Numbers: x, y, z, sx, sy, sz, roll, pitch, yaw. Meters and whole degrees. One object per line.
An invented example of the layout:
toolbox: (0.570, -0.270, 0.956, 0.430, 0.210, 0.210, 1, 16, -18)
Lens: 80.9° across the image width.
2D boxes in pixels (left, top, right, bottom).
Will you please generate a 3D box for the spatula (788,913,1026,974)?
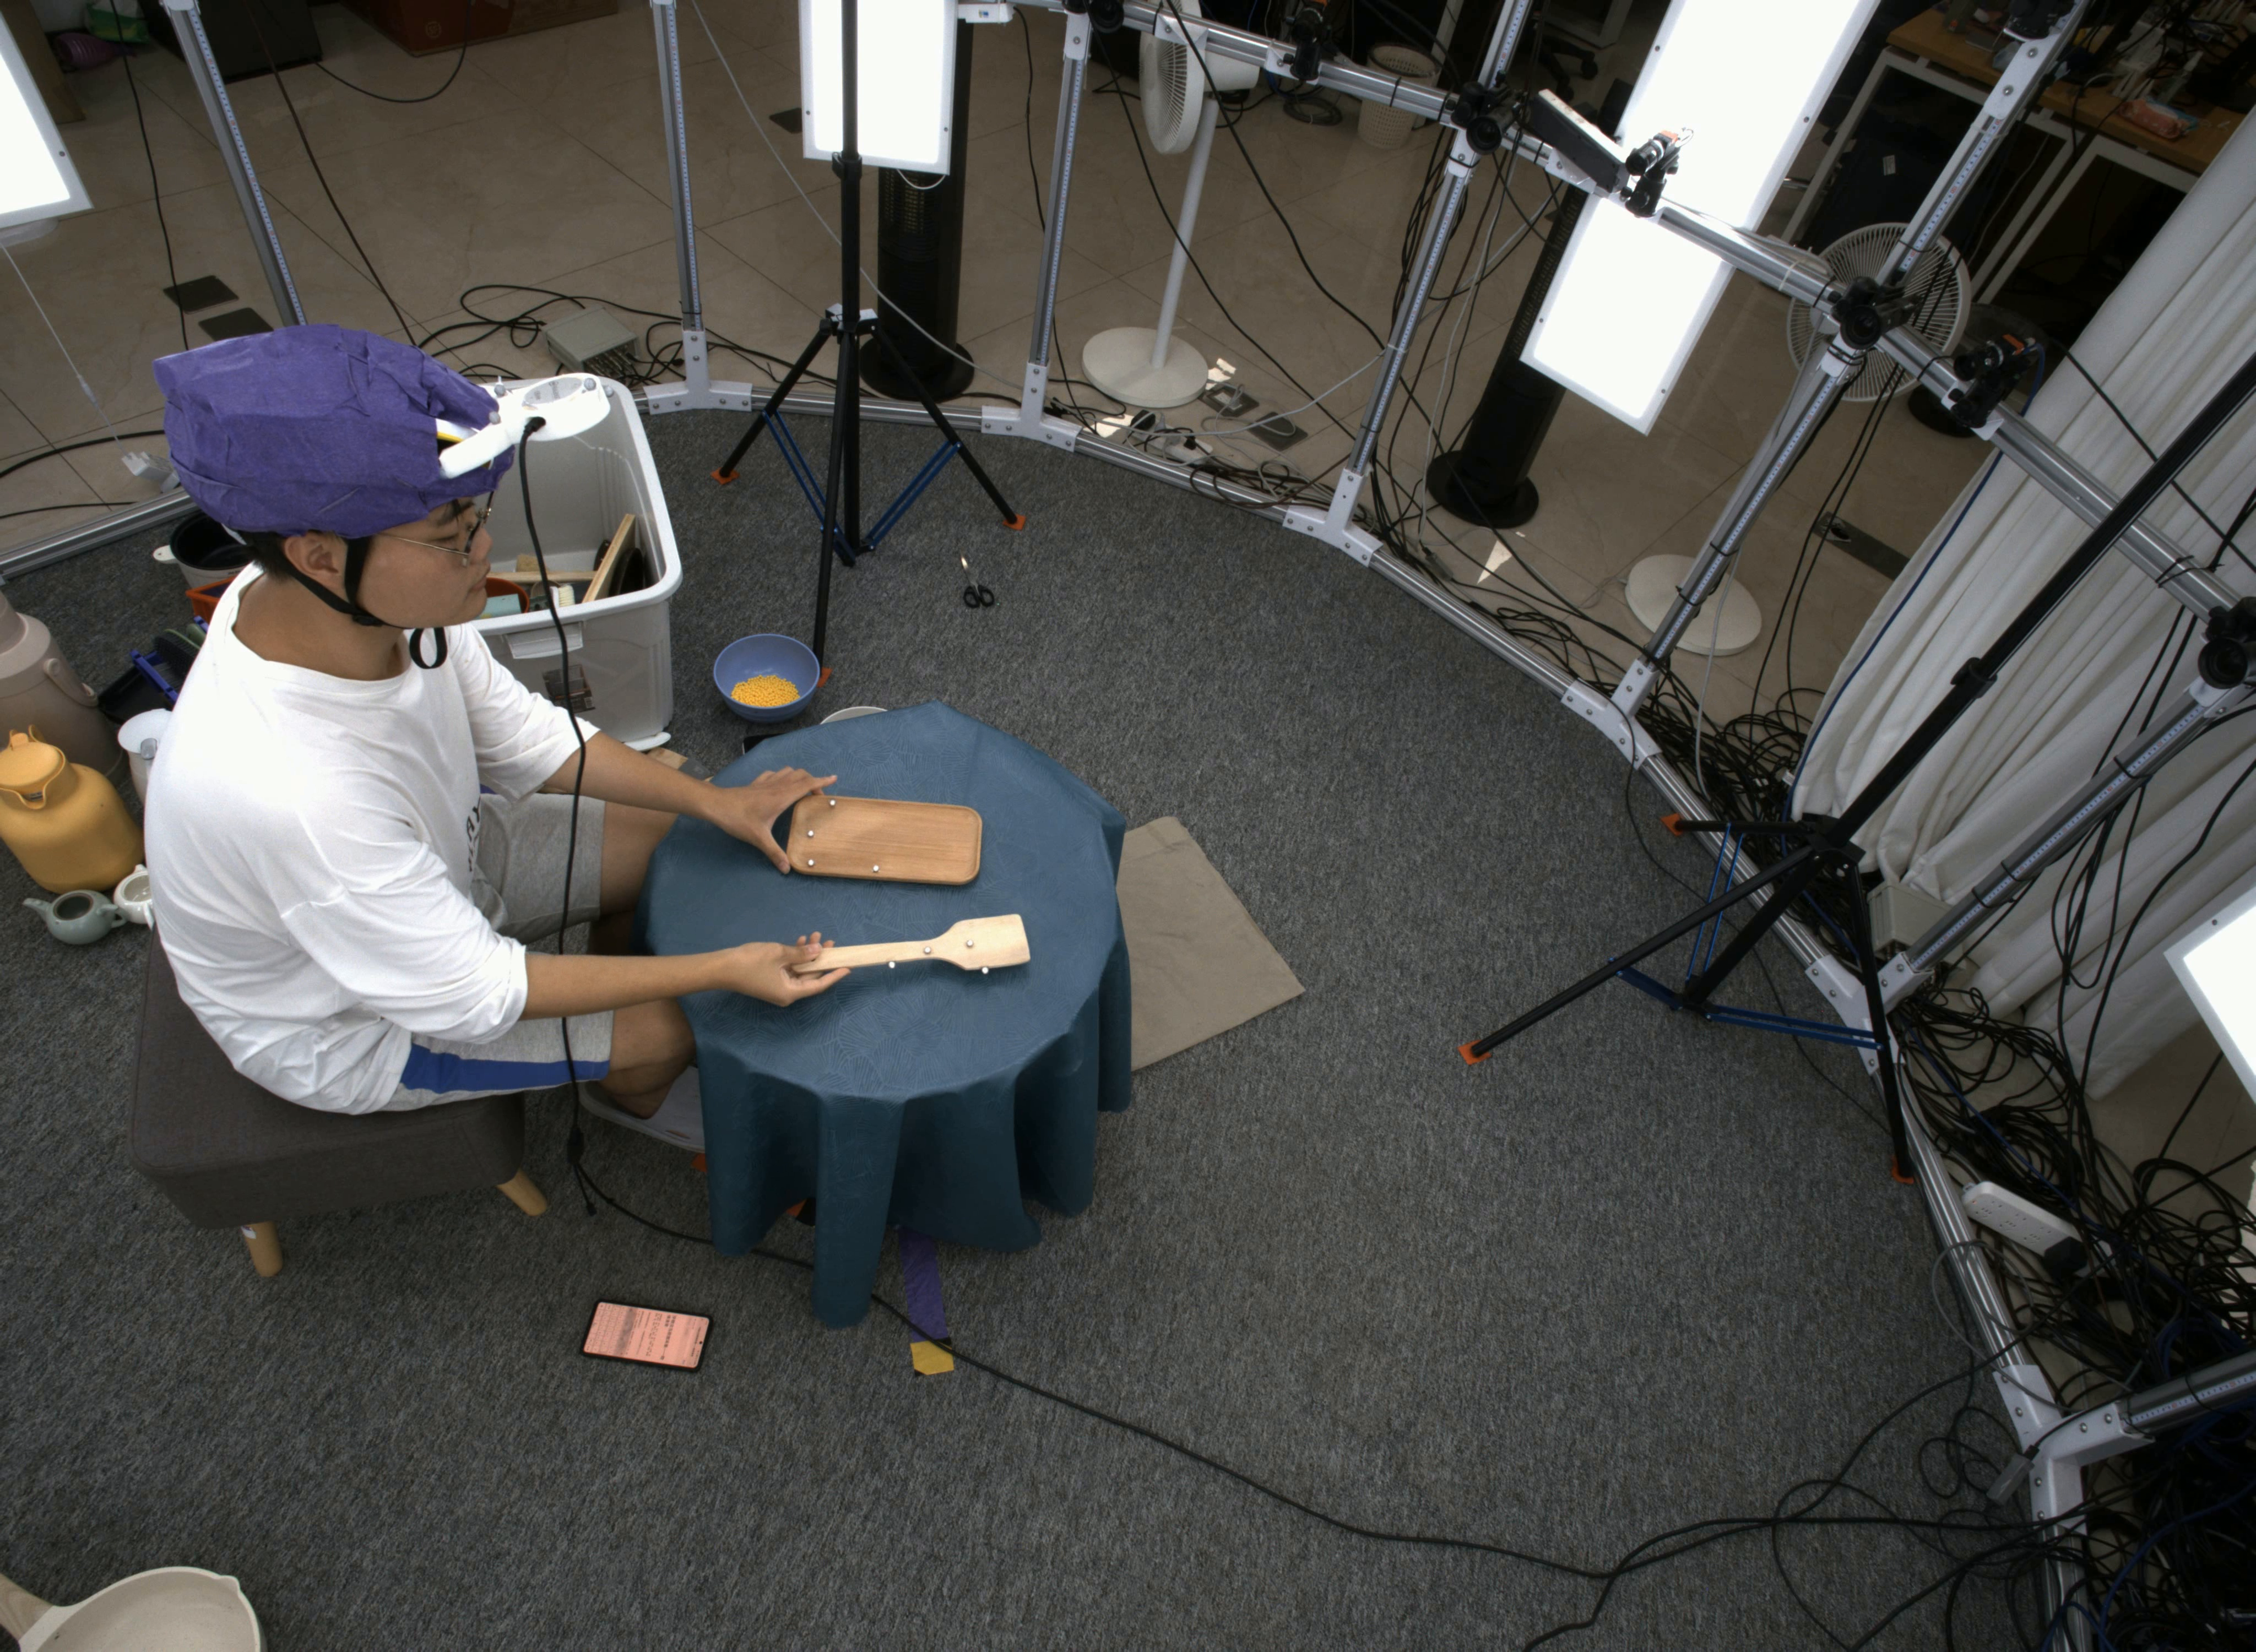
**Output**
spatula: (-0.272, 0.153, 1.612, 0.295, 0.011, 0.071, -5, 60, -22)

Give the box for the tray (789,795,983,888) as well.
tray: (-0.320, 0.020, 1.735, 0.250, 0.023, 0.128, 6, 55, -9)
